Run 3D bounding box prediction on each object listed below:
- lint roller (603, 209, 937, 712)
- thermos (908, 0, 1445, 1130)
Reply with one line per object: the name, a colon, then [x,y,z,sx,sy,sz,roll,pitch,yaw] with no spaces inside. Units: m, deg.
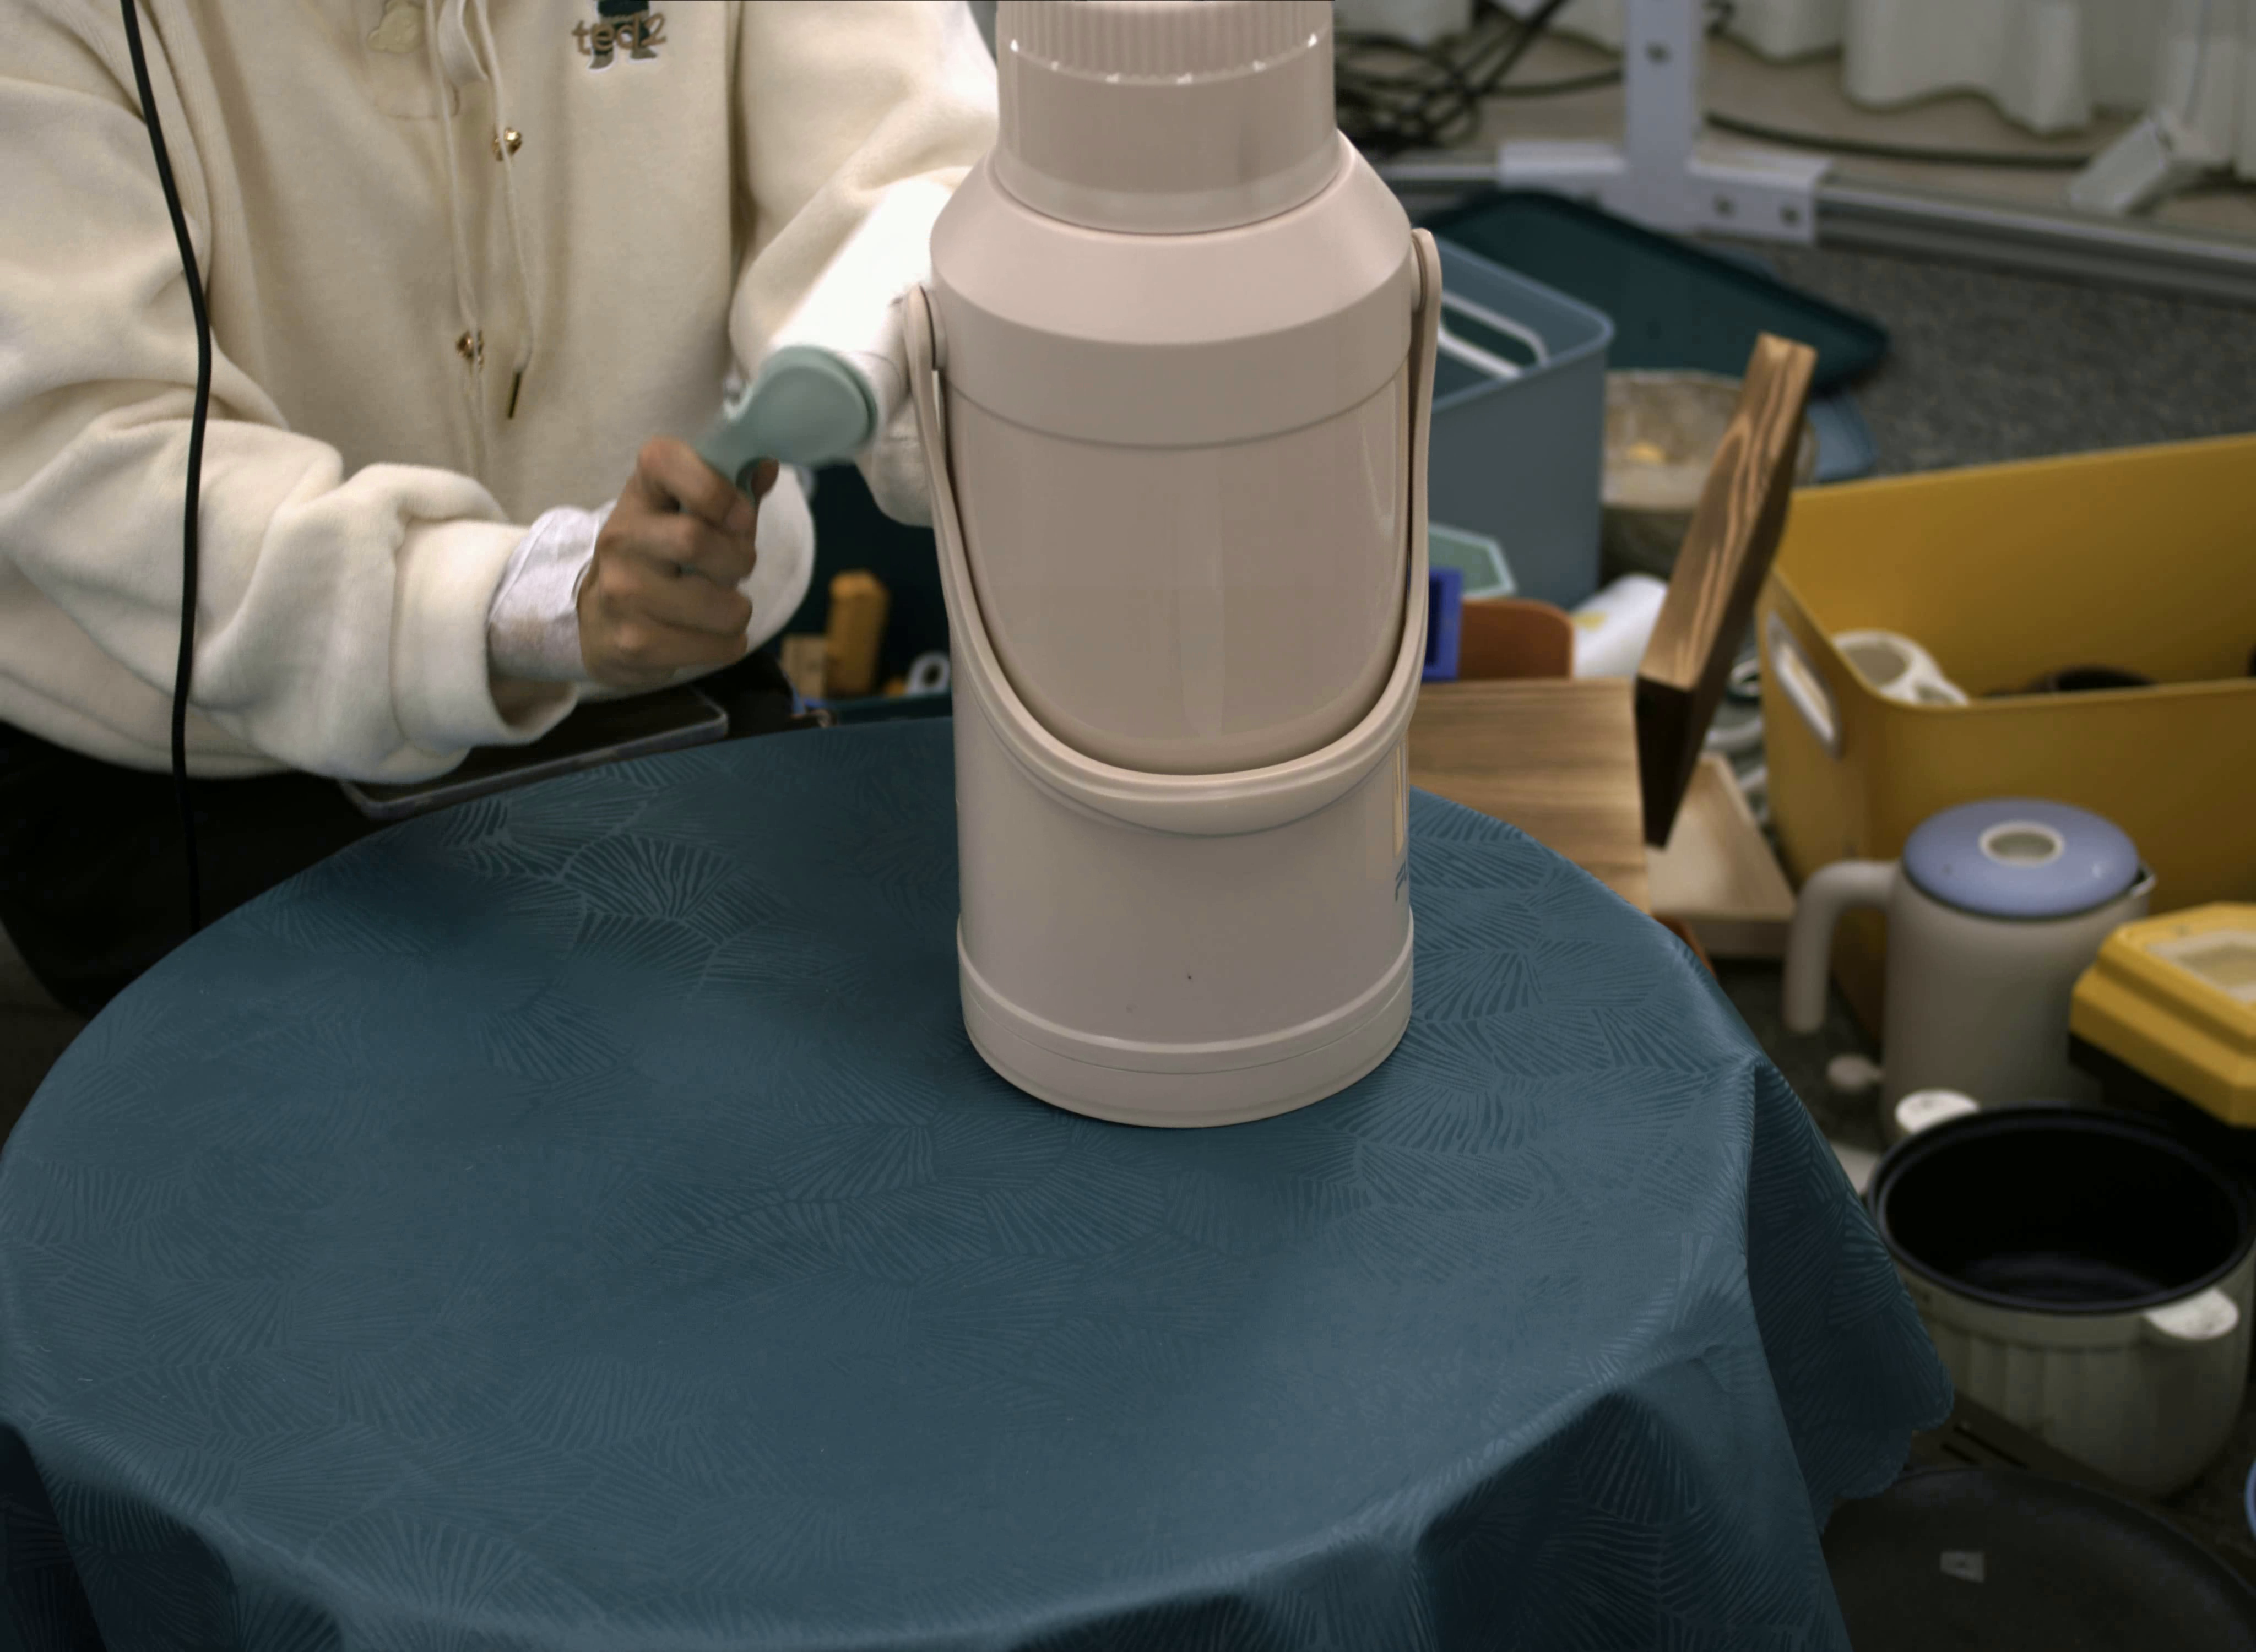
lint roller: [-0.129,-0.119,1.922,0.048,0.195,0.118,37,26,-13]
thermos: [0.015,-0.115,1.880,0.175,0.401,0.209,-8,30,-10]
